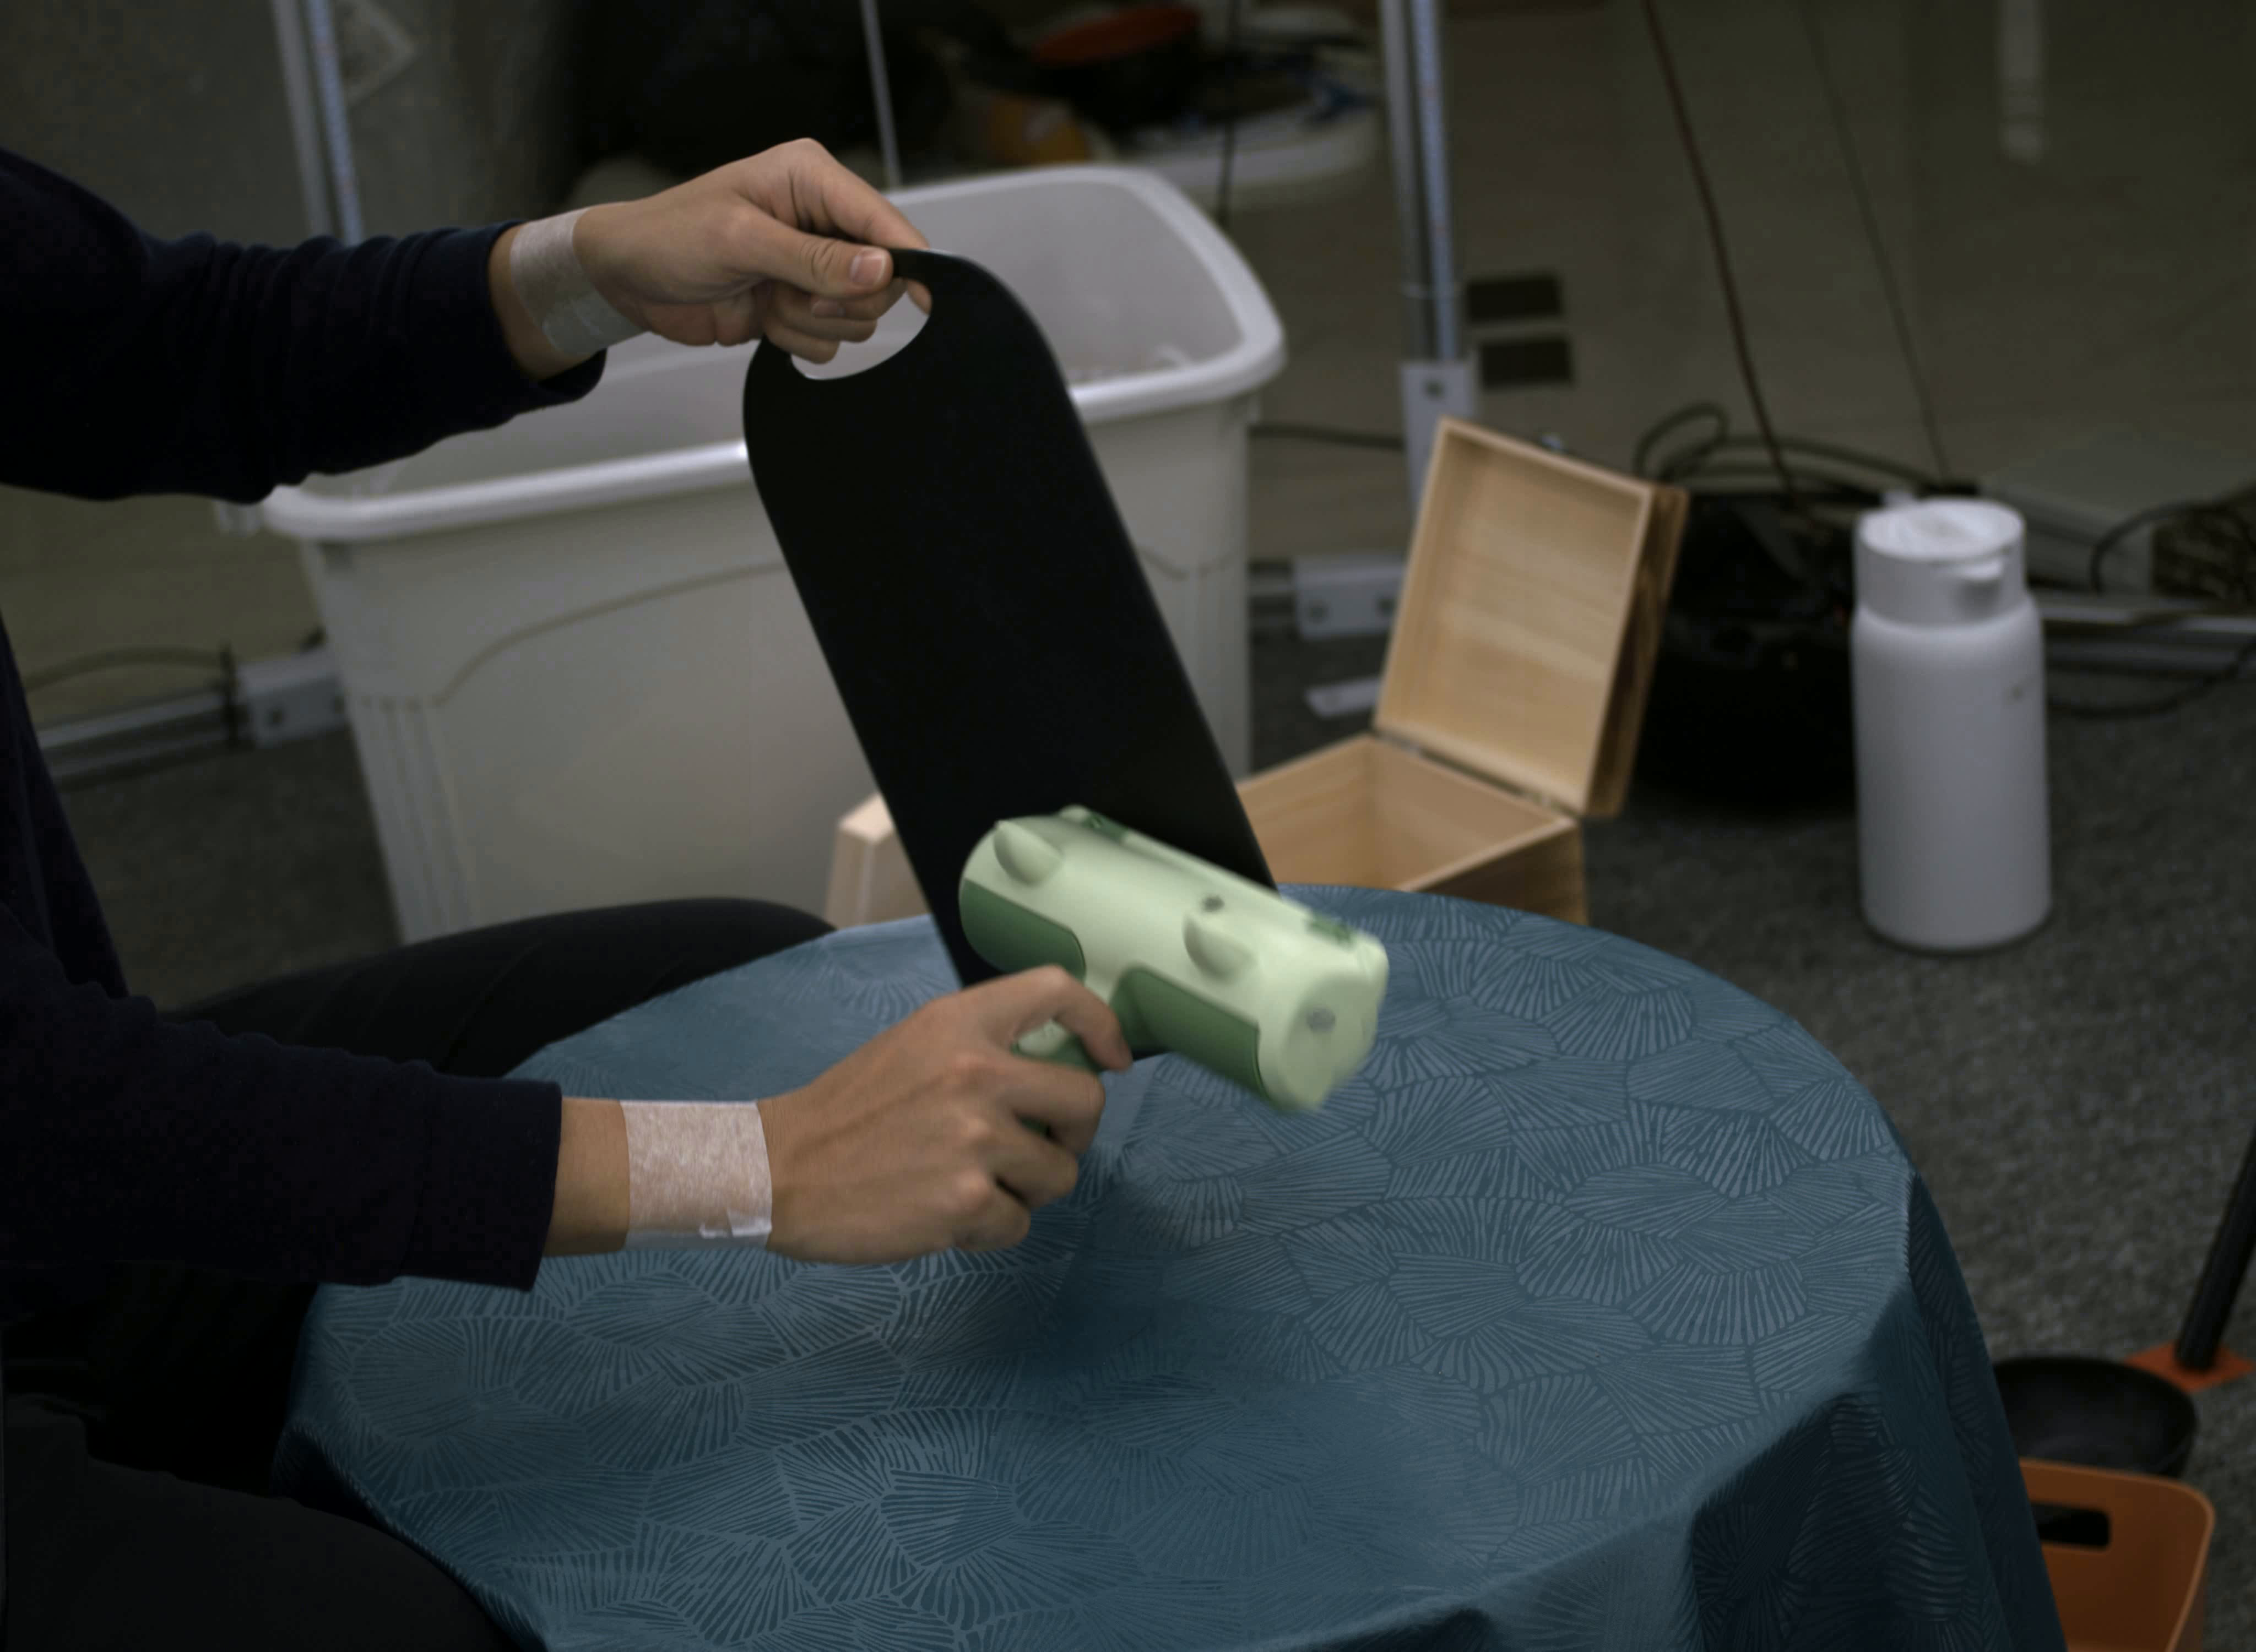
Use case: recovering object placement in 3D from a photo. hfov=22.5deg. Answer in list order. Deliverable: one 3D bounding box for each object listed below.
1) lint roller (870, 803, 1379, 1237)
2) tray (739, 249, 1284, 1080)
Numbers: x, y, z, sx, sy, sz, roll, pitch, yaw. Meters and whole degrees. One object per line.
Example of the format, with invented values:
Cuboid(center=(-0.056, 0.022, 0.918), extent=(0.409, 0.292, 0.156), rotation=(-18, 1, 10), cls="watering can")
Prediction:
Cuboid(center=(-0.032, 0.067, 2.035), extent=(0.182, 0.083, 0.197), rotation=(-38, 35, -23), cls="lint roller")
Cuboid(center=(-0.048, -0.063, 2.145), extent=(0.010, 0.326, 0.212), rotation=(-27, 5, -35), cls="tray")
